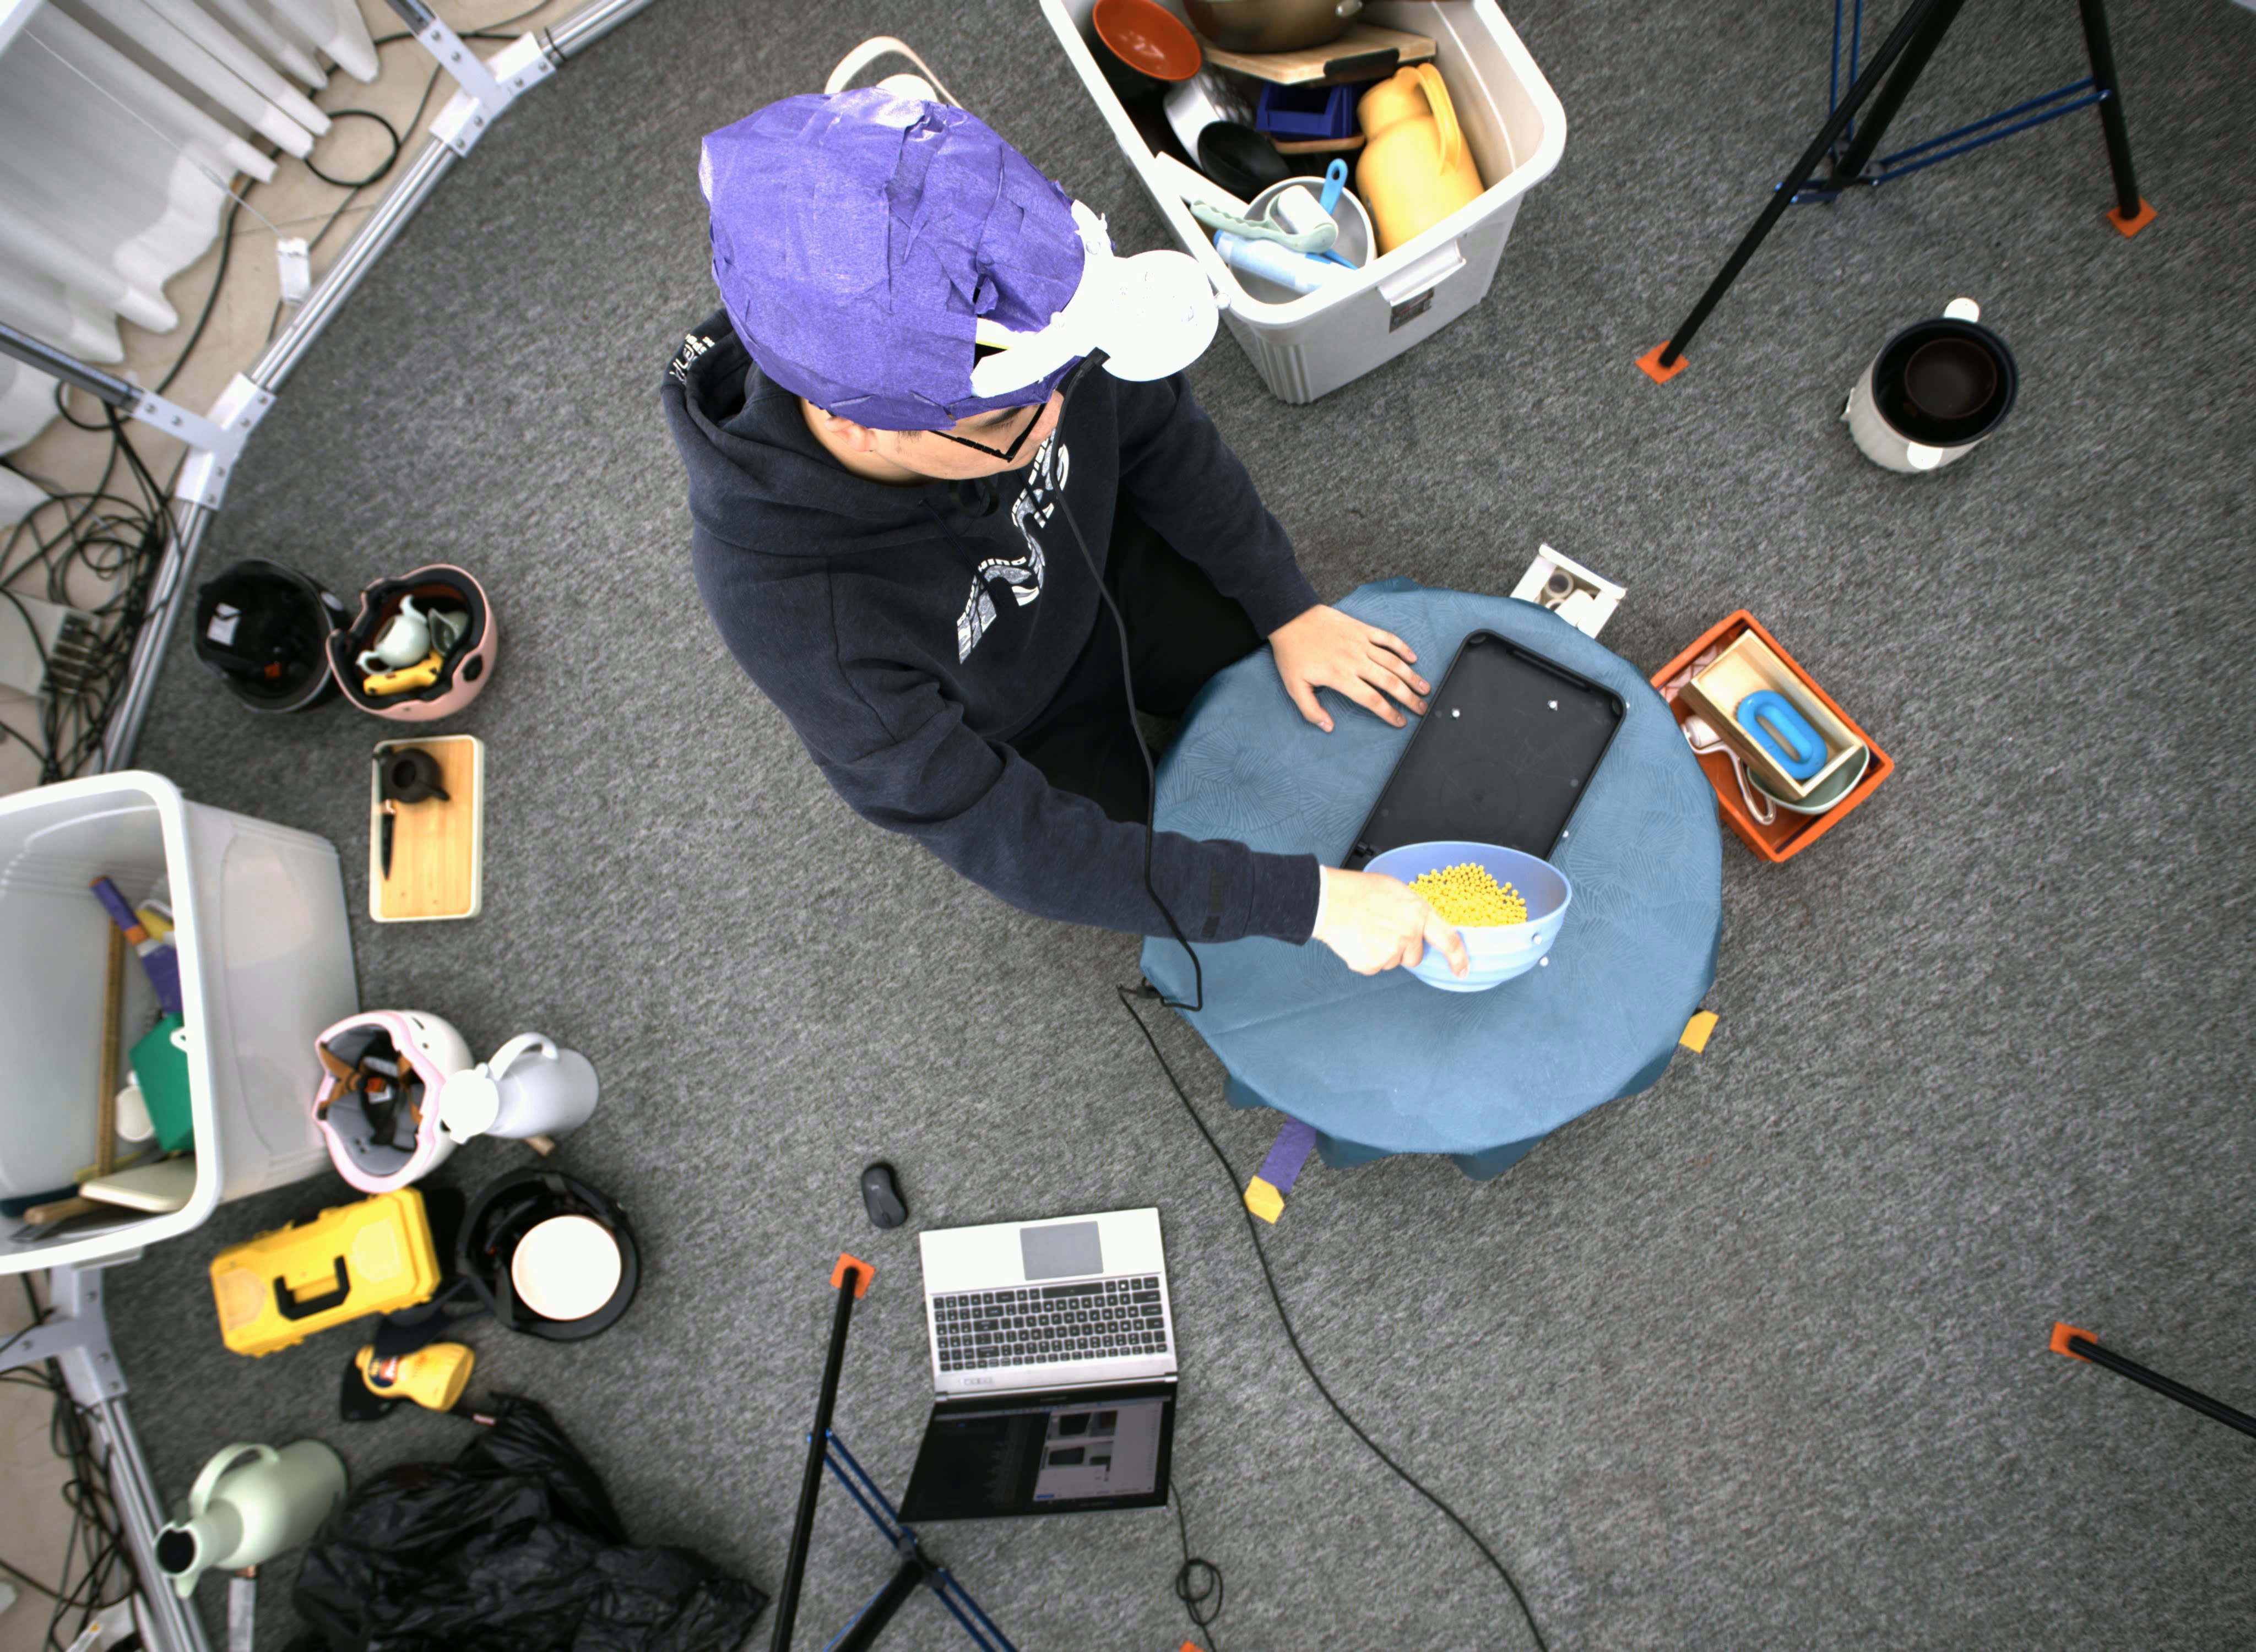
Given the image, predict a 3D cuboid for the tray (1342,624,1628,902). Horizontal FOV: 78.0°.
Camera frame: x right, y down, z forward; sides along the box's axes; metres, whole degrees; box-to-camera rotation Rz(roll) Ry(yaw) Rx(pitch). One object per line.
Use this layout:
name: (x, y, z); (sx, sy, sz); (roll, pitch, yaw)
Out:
tray: (0.370, -0.038, 1.431); (0.184, 0.037, 0.318); (27, 93, 12)

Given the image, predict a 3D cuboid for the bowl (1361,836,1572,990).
bowl: (0.320, 0.092, 1.325); (0.197, 0.192, 0.097); (5, 117, 11)
